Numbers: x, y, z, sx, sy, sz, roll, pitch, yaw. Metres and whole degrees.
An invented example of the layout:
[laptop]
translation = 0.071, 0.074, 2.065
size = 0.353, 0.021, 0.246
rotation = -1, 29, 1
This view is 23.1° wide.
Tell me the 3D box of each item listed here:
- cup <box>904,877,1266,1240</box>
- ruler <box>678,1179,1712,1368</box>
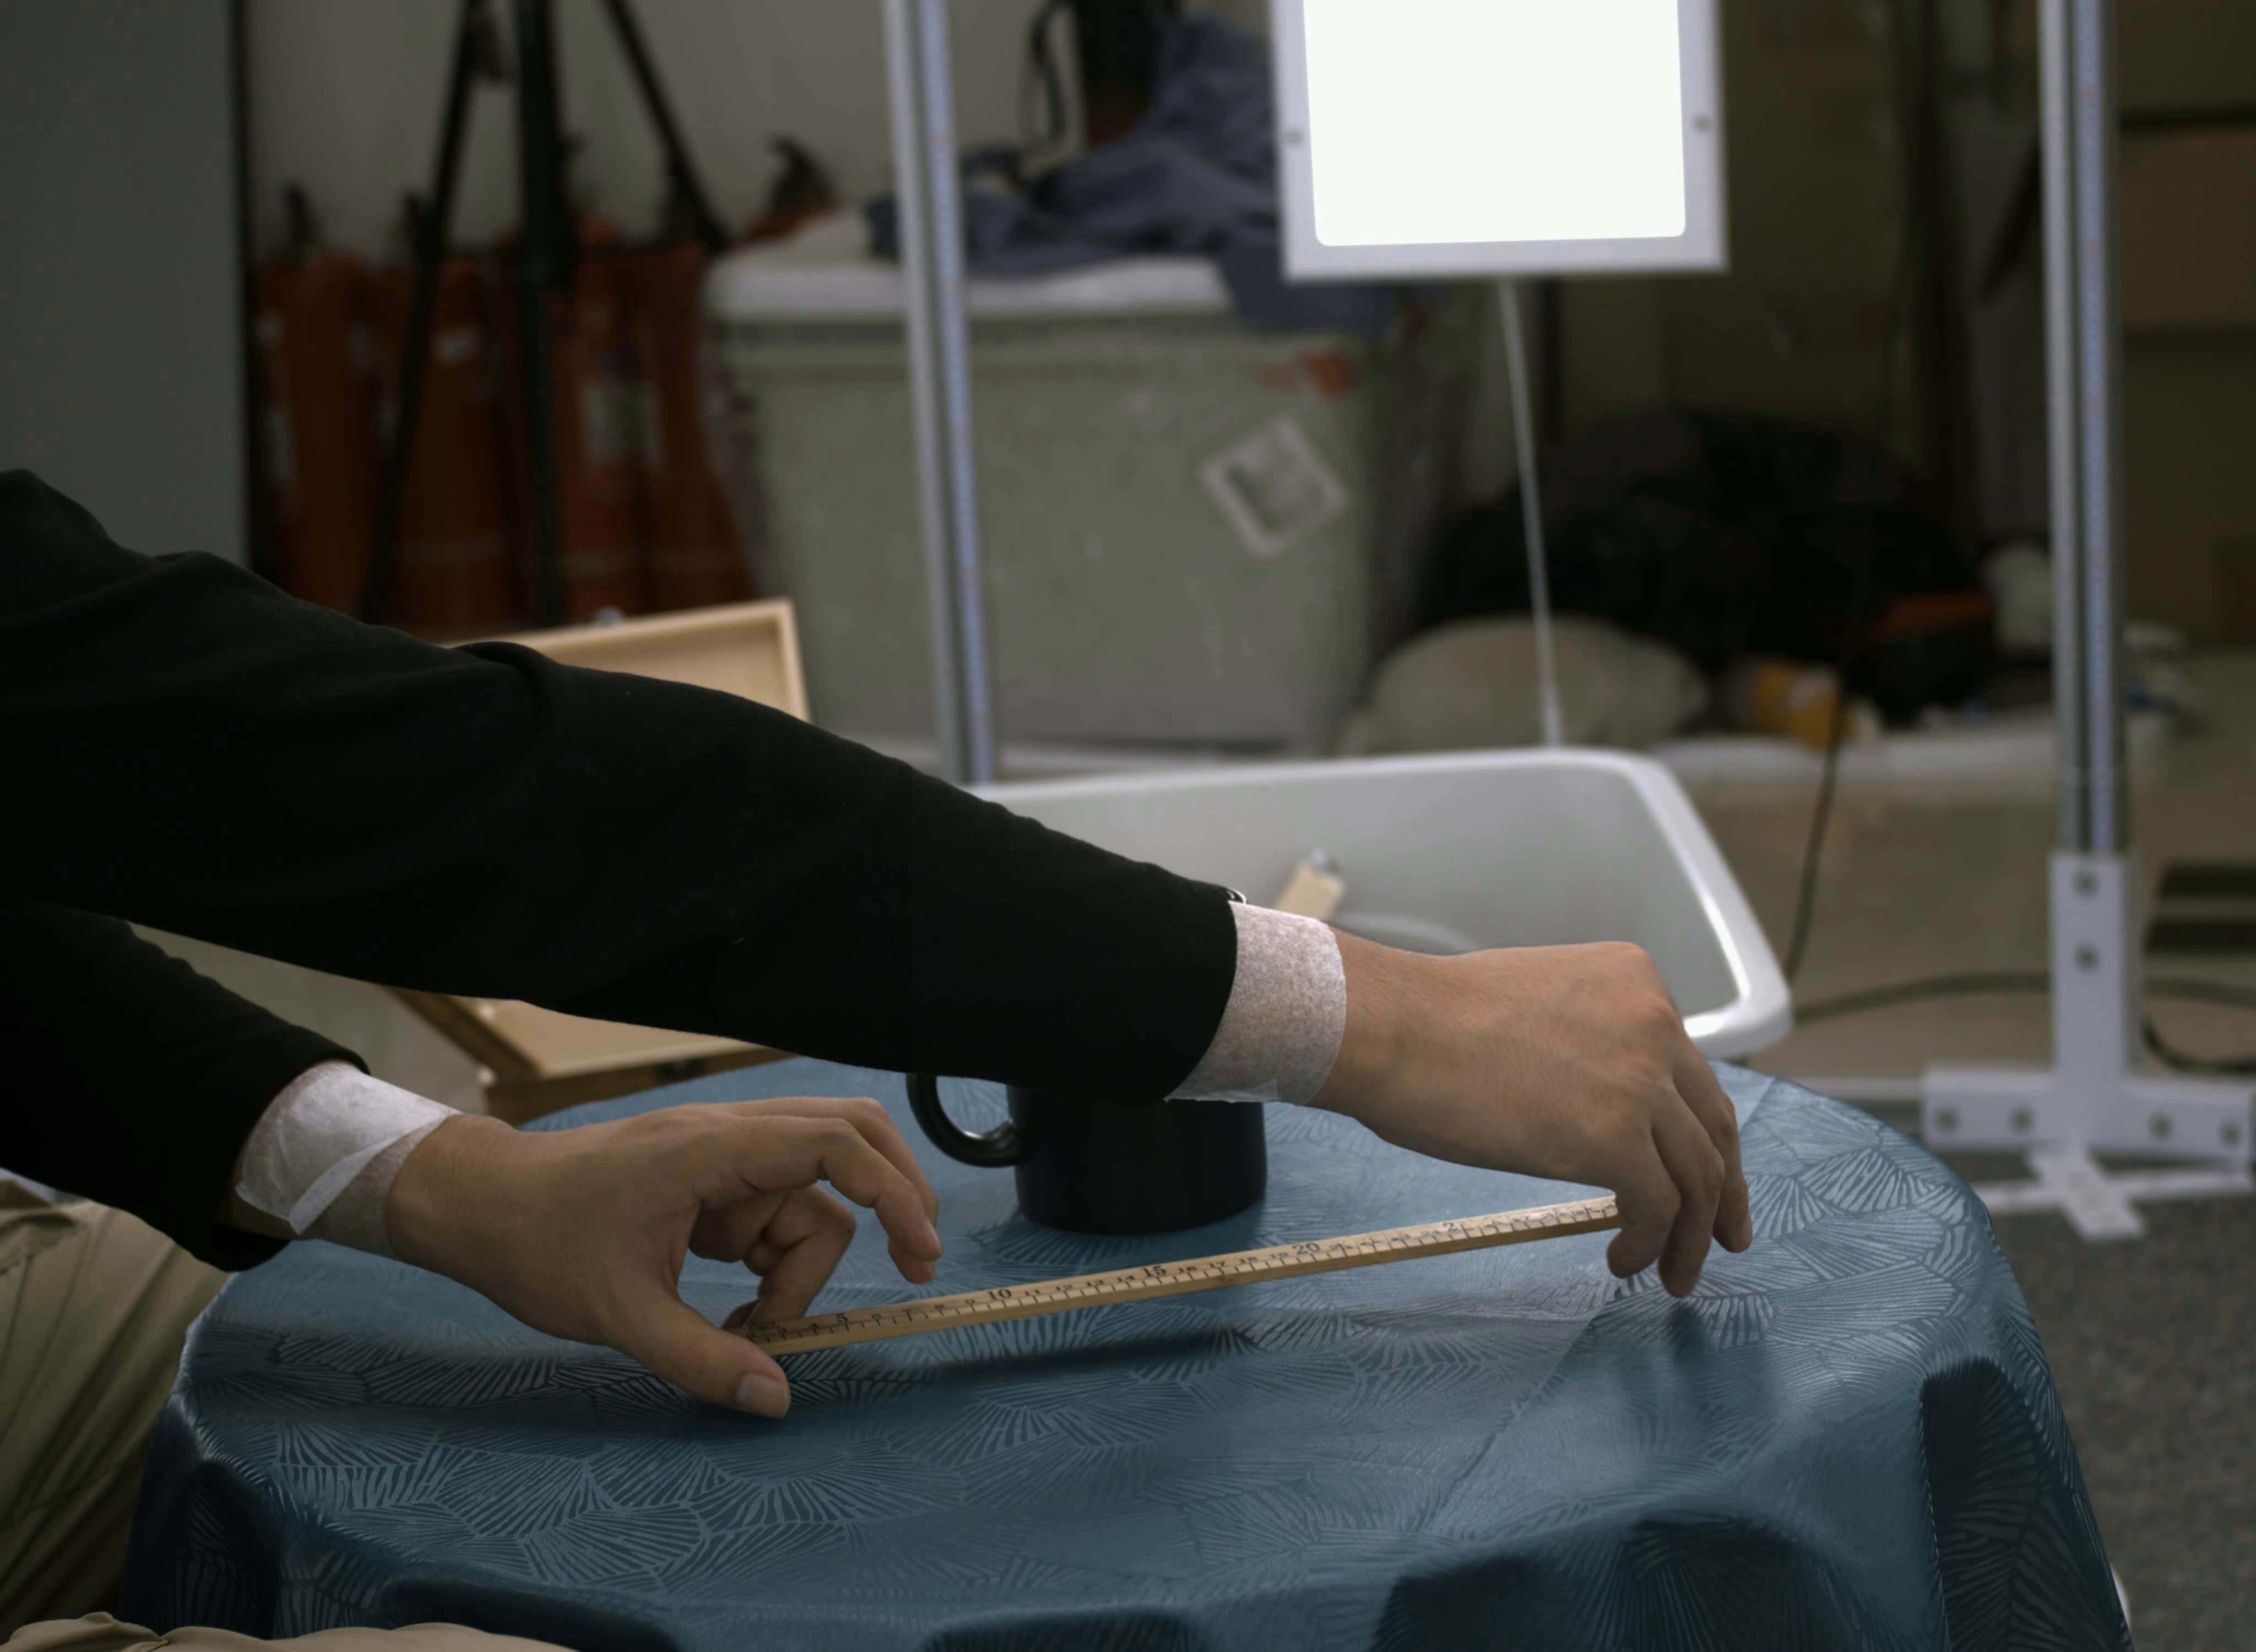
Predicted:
[cup]
translation = -0.016, 0.081, 1.876
size = 0.122, 0.105, 0.089
rotation = -8, 16, -10
[ruler]
translation = 0.022, 0.140, 1.743
size = 0.330, 0.022, 0.027
rotation = -8, 9, -4
